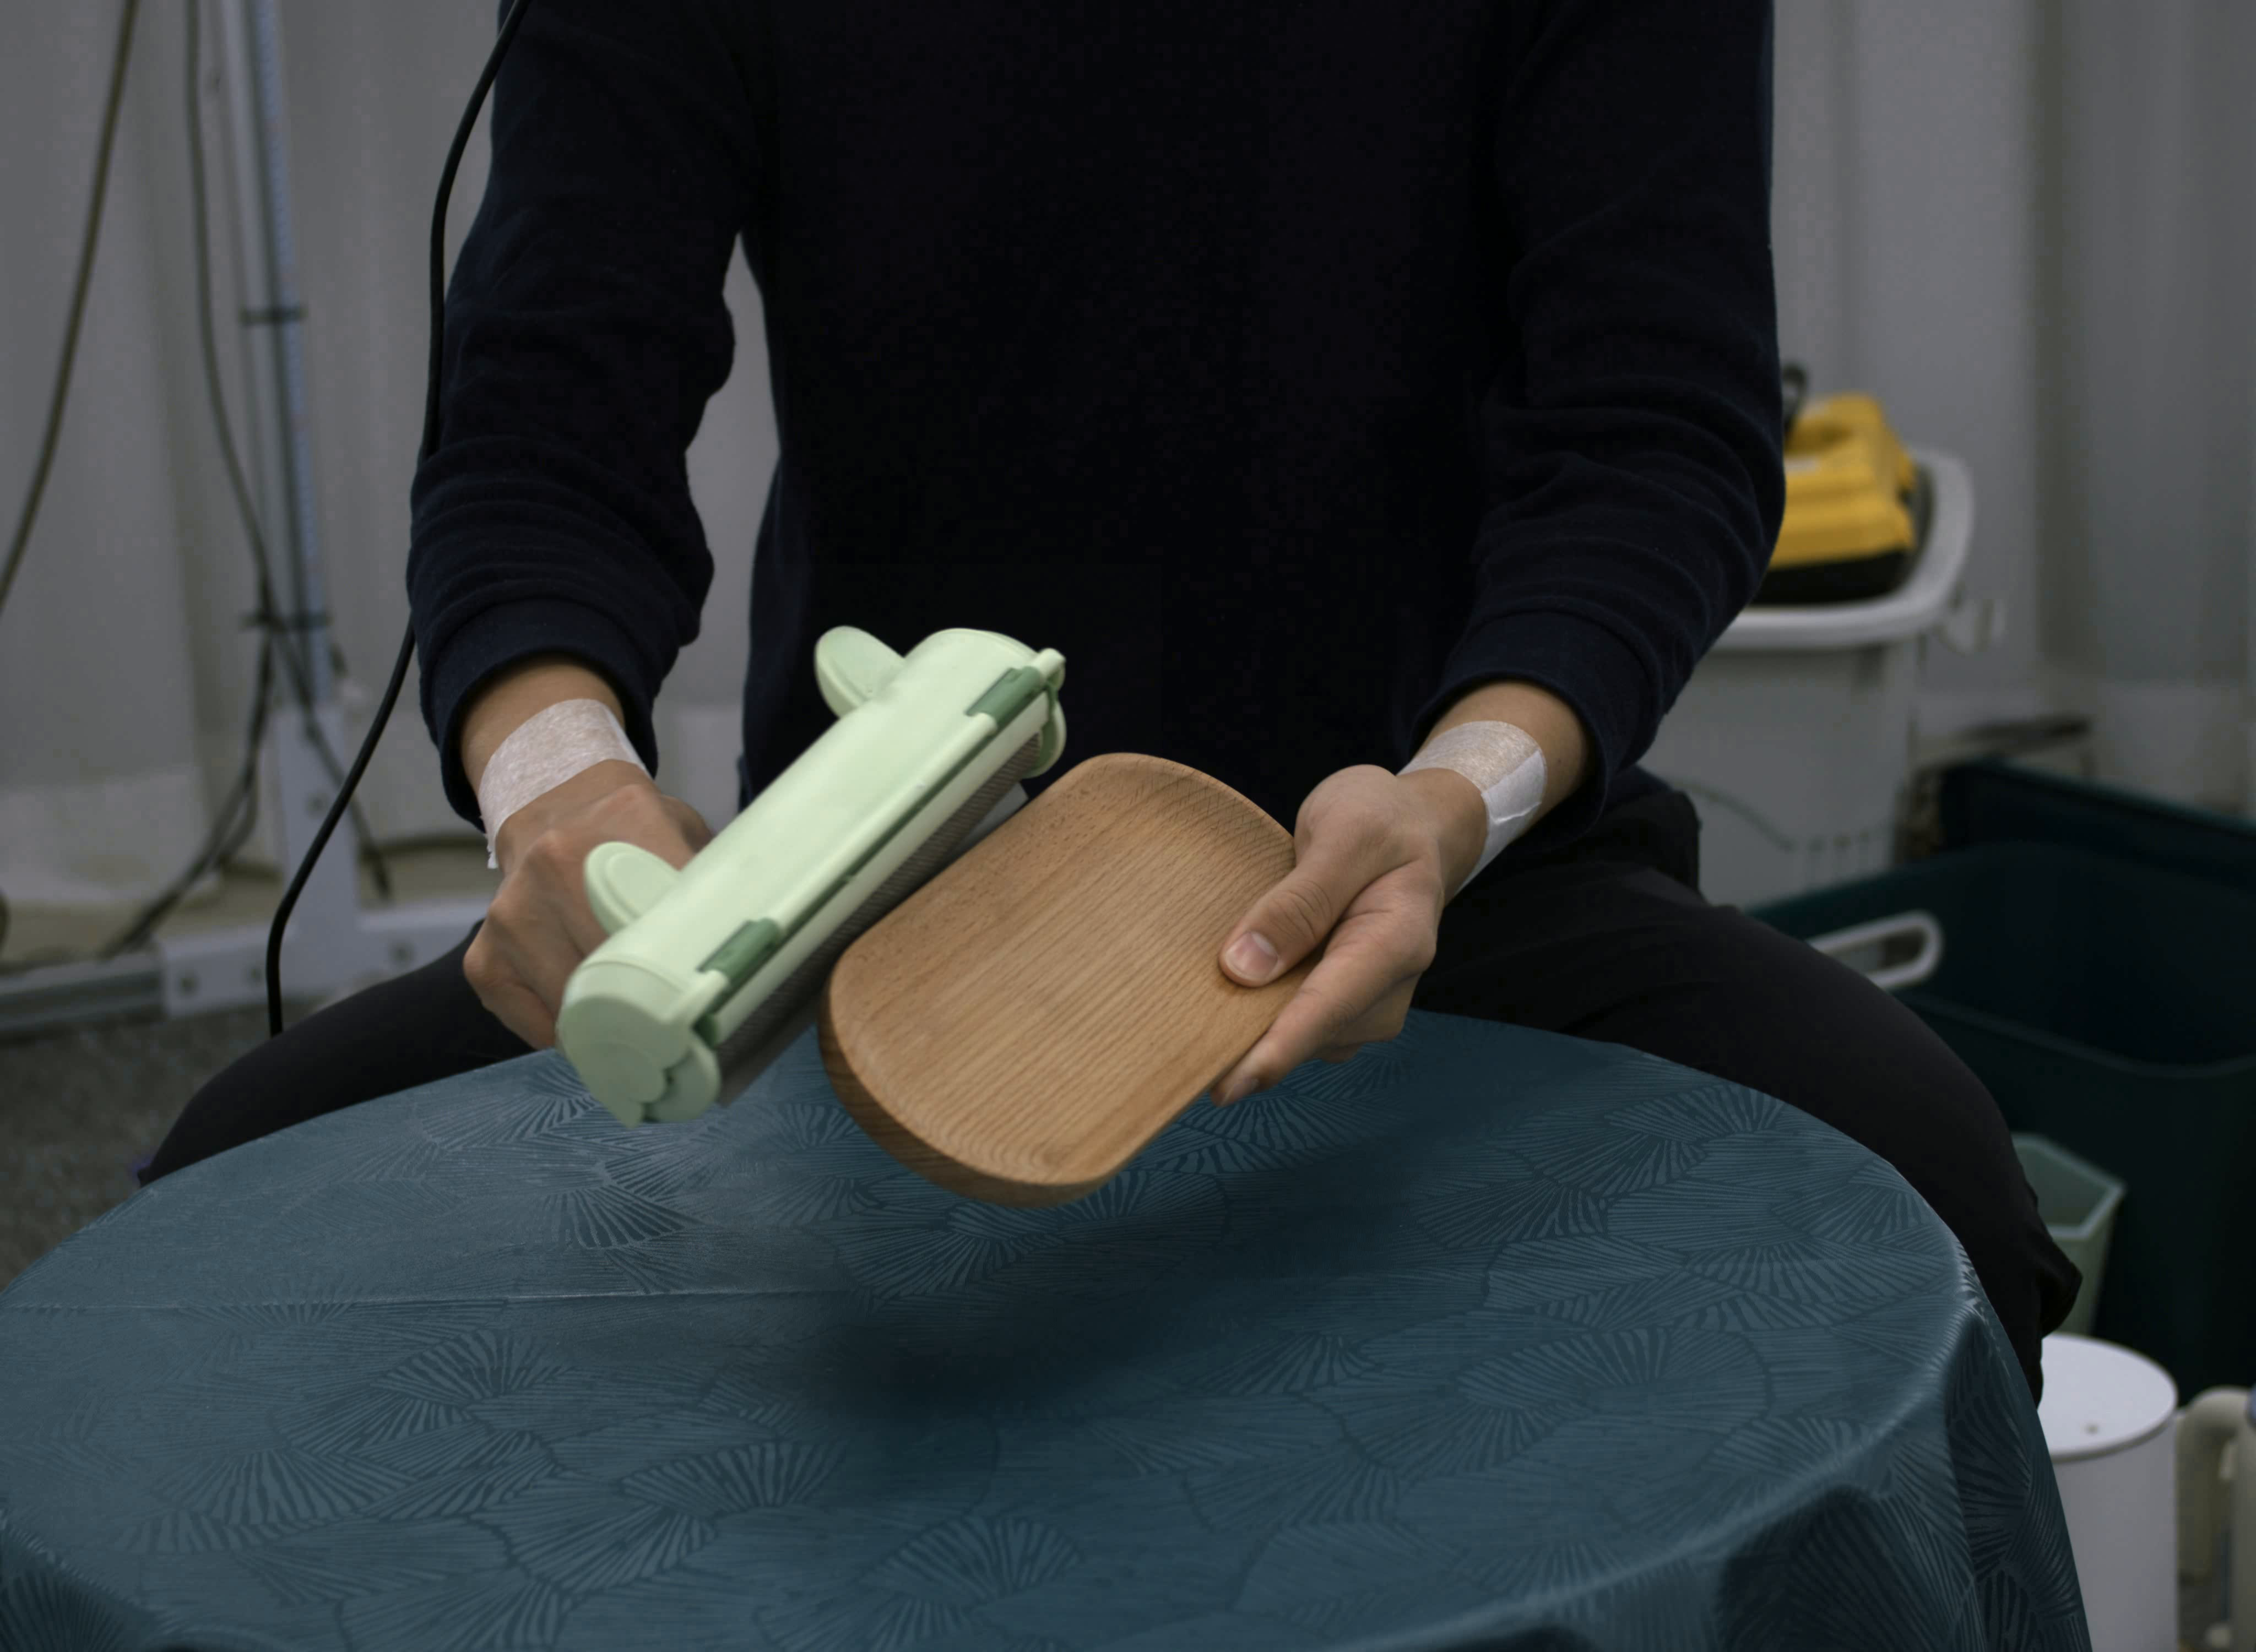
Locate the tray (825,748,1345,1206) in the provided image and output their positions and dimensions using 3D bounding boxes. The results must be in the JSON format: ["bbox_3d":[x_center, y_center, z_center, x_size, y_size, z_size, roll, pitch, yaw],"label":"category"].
[{"bbox_3d":[-0.011,0.042,1.601,0.102,0.020,0.232,39,33,8],"label":"tray"}]

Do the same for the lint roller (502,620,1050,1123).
[{"bbox_3d":[-0.136,0.012,1.611,0.183,0.081,0.200,-11,25,42],"label":"lint roller"}]
